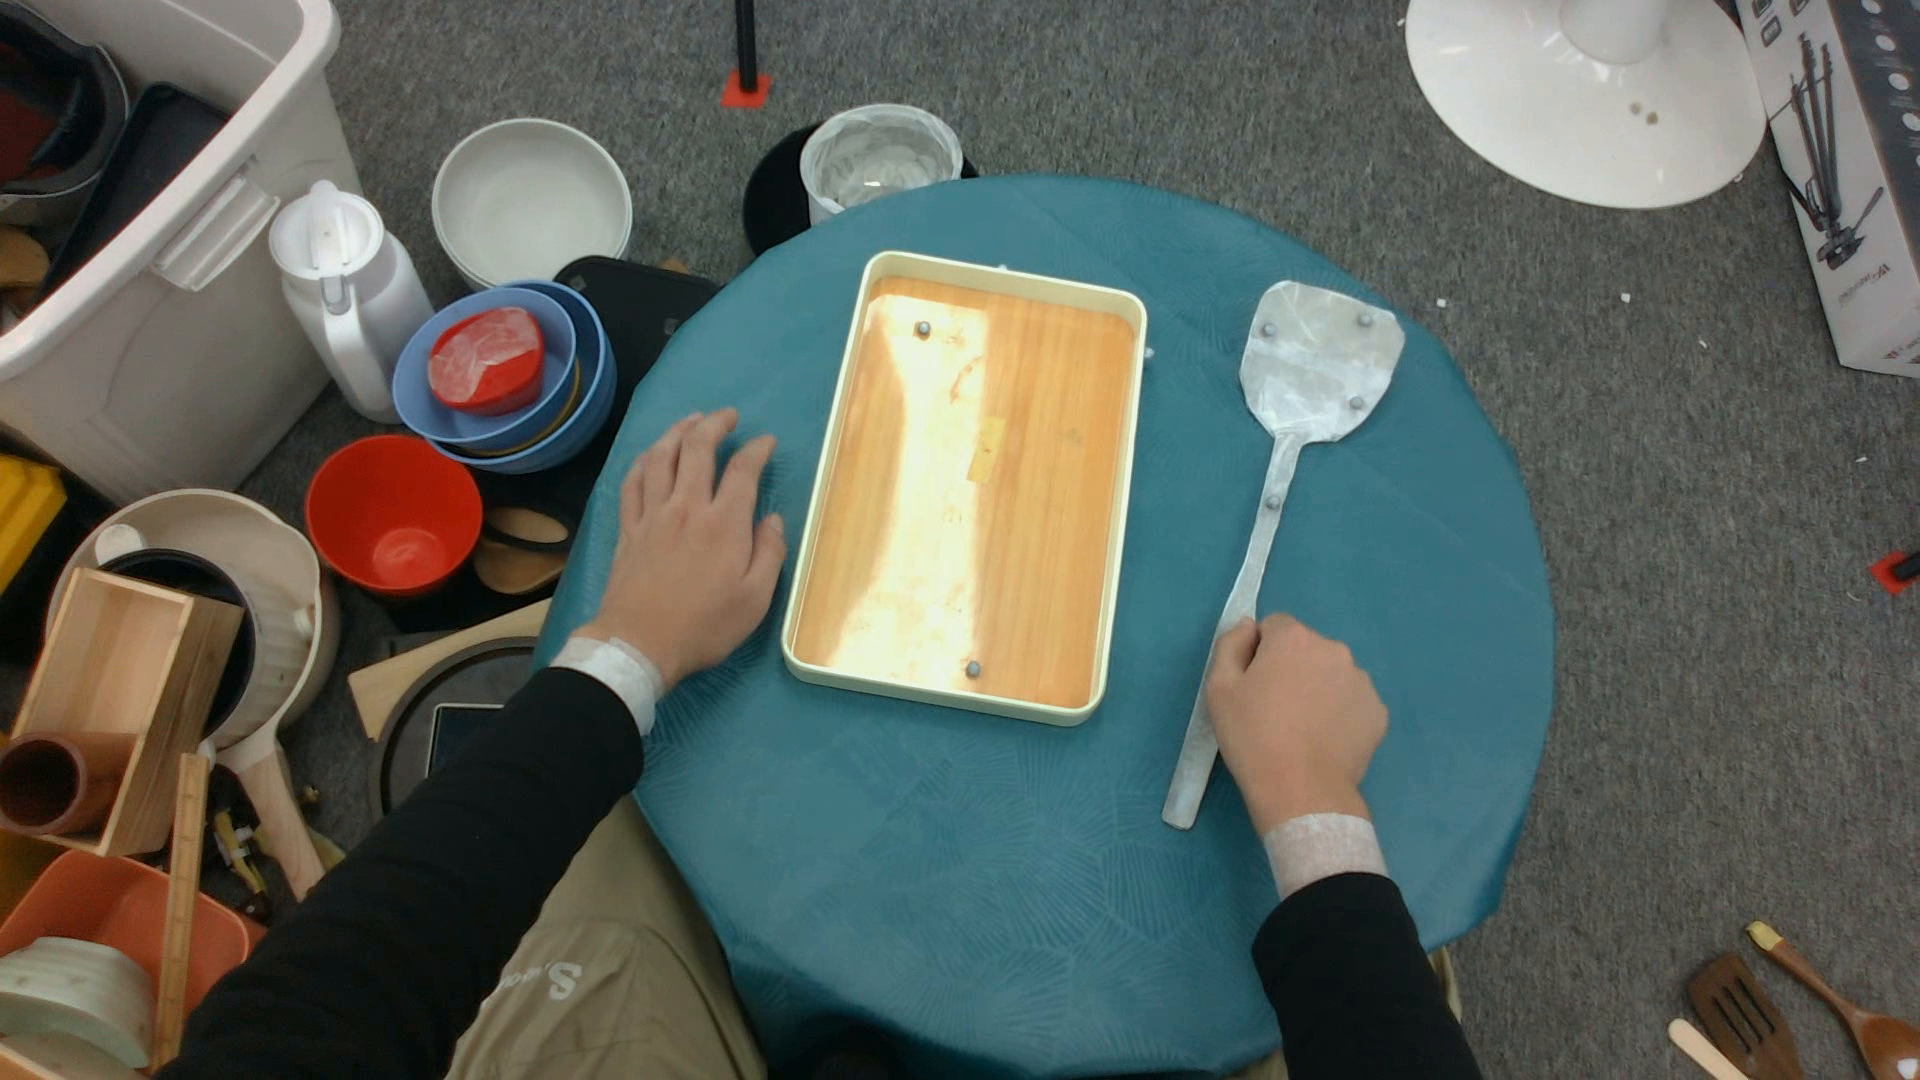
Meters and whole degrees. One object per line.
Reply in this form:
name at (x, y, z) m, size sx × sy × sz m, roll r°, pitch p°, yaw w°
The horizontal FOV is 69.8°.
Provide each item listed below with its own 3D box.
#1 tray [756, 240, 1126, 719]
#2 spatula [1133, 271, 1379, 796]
tray at (-0.004, -0.046, 0.854) m, size 0.191 × 0.027 × 0.301 m, roll 10°, pitch 64°, yaw -1°
spatula at (0.173, -0.011, 0.851) m, size 0.098 × 0.044 × 0.366 m, roll 20°, pitch 64°, yaw 4°
